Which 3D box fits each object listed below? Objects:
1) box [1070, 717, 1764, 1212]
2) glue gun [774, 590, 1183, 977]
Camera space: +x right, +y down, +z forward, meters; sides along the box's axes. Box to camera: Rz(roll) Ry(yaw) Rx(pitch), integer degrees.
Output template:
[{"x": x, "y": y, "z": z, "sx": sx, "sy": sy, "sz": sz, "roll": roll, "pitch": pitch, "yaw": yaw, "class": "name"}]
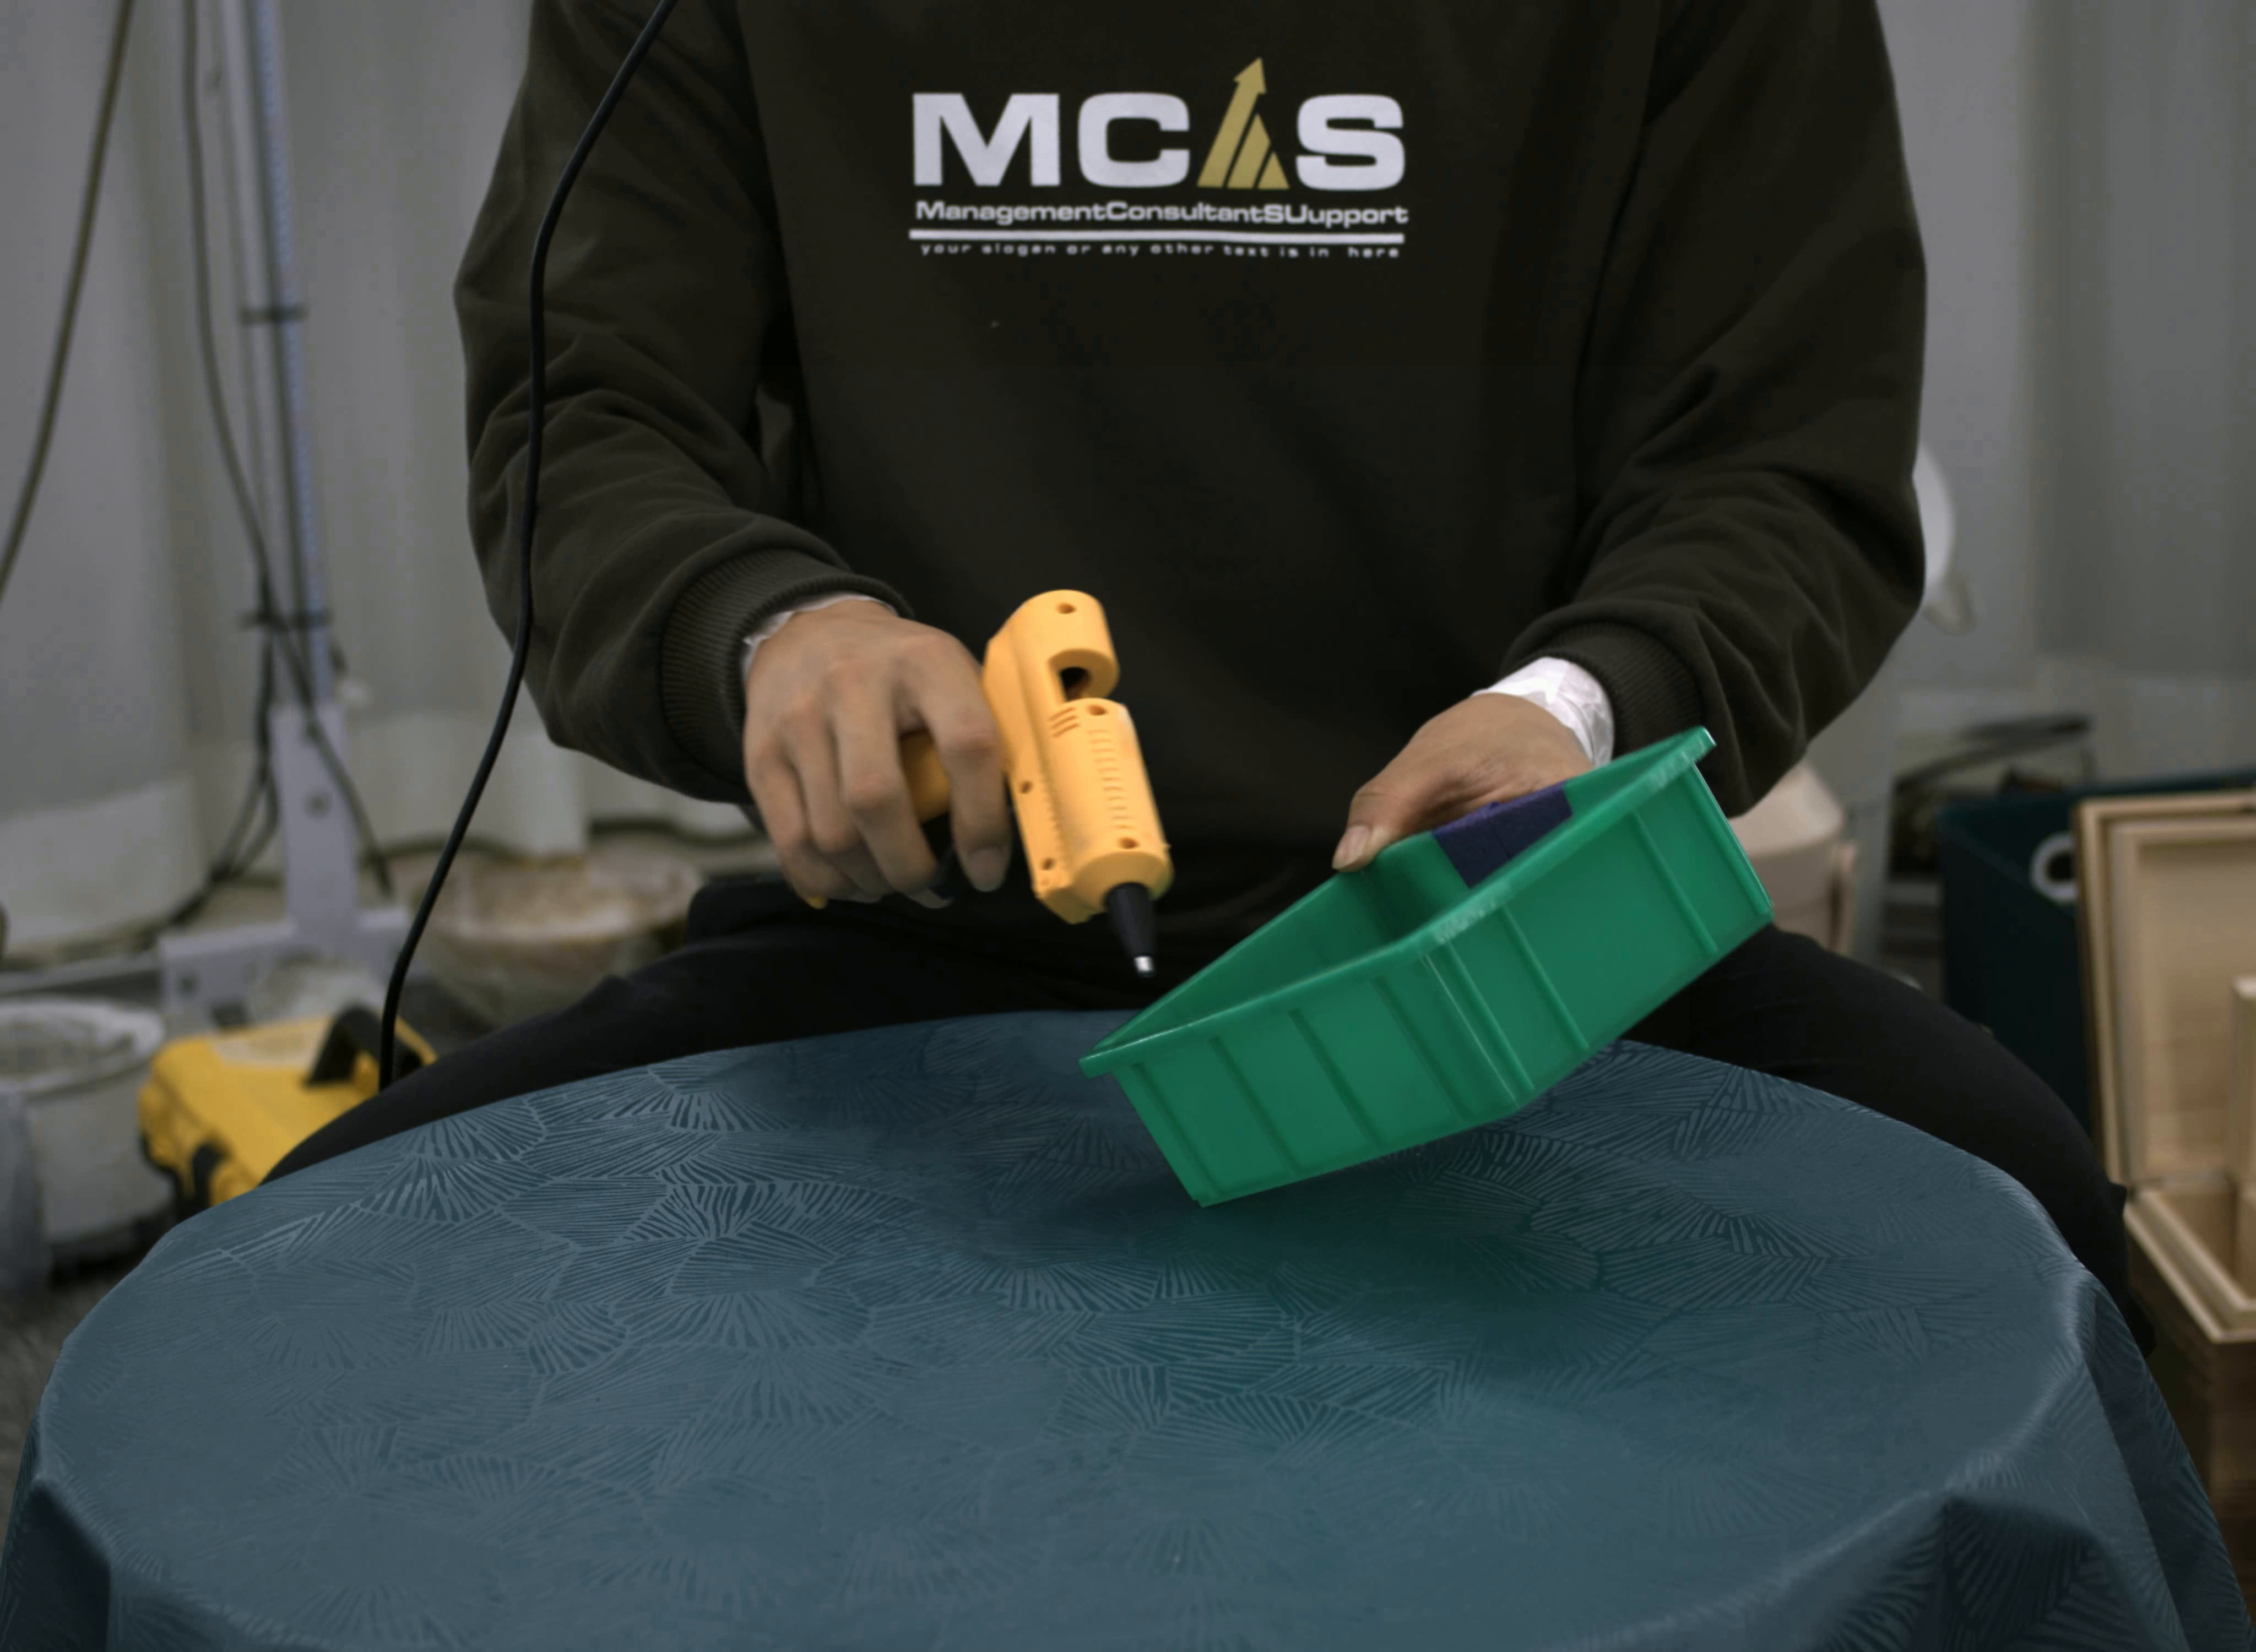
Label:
[{"x": 0.089, "y": 0.047, "z": 1.654, "sx": 0.139, "sy": 0.065, "sz": 0.210, "roll": -32, "pitch": 2, "yaw": -34, "class": "box"}, {"x": -0.041, "y": 0.013, "z": 1.700, "sx": 0.132, "sy": 0.031, "sz": 0.154, "roll": -35, "pitch": 46, "yaw": 14, "class": "glue gun"}]
